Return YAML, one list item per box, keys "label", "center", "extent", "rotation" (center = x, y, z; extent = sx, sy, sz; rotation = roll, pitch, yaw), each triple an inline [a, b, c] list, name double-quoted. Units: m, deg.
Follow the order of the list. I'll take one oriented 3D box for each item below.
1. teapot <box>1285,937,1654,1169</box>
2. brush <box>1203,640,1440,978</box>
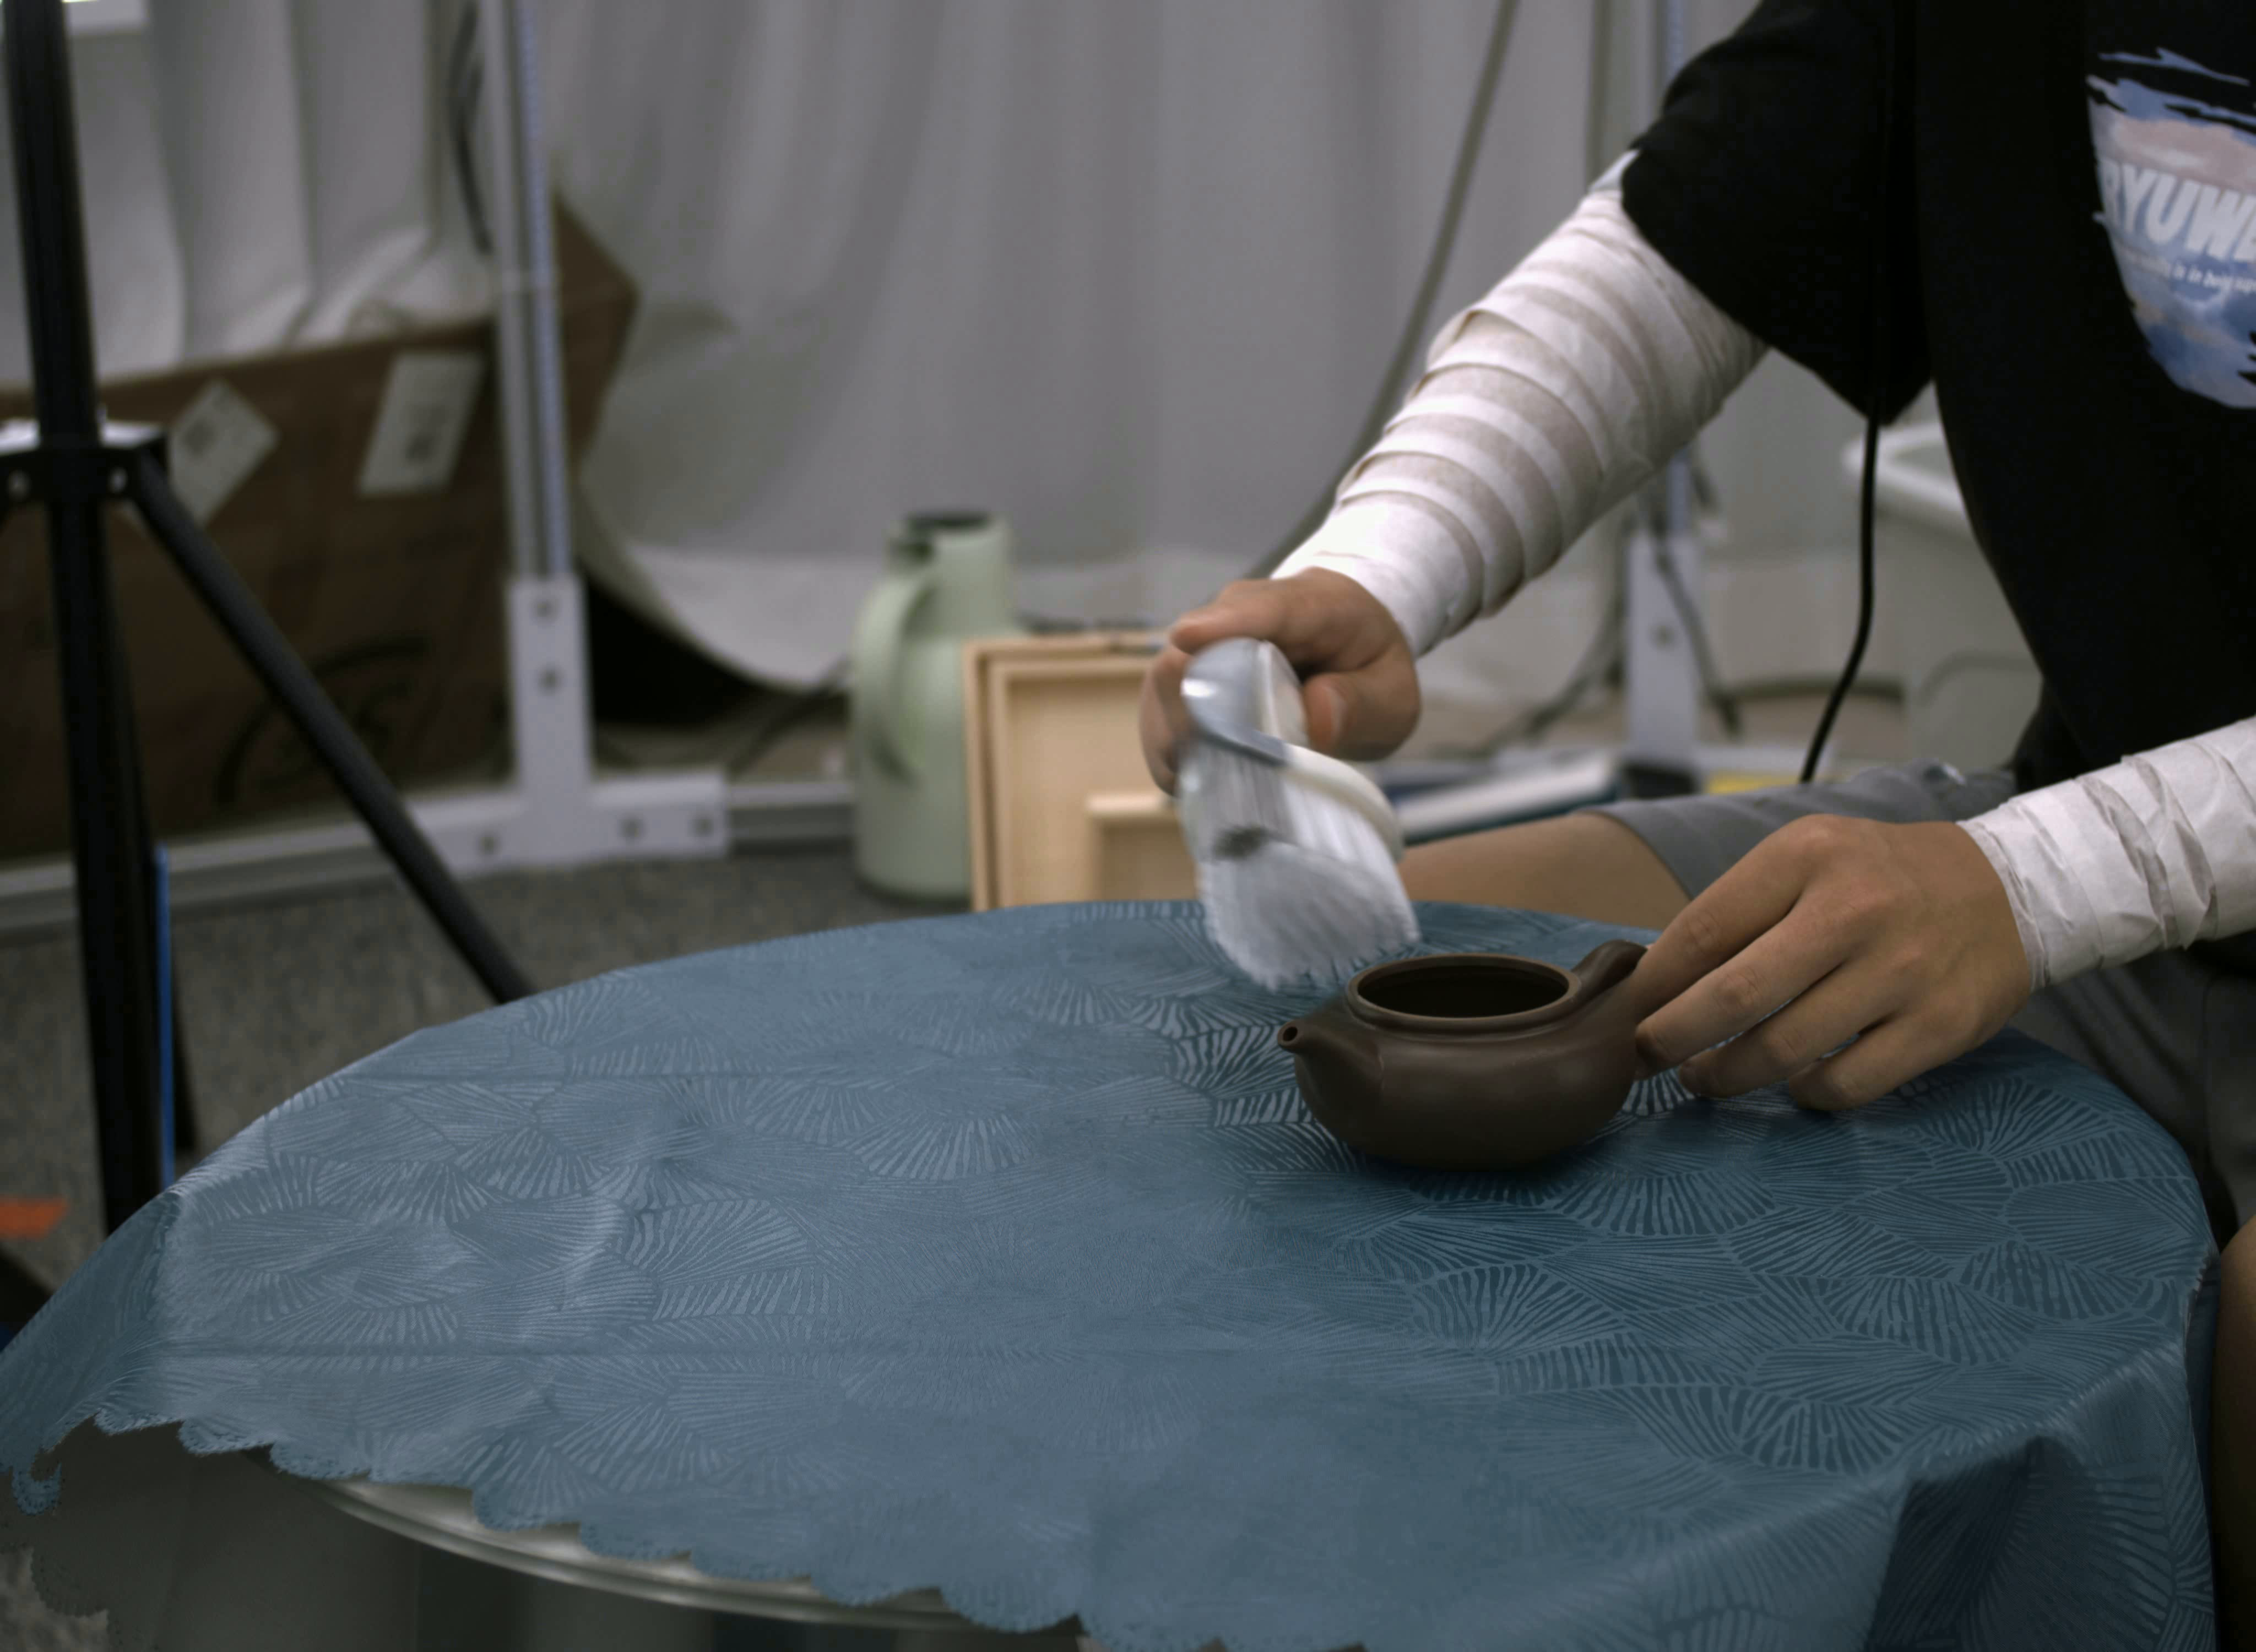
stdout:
- label: "teapot"
  center: [0.103, 0.067, 1.588]
  extent: [0.150, 0.054, 0.105]
  rotation: [-17, 23, -42]
- label: "brush"
  center: [0.050, -0.014, 1.628]
  extent: [0.061, 0.095, 0.173]
  rotation: [-20, -15, 7]
